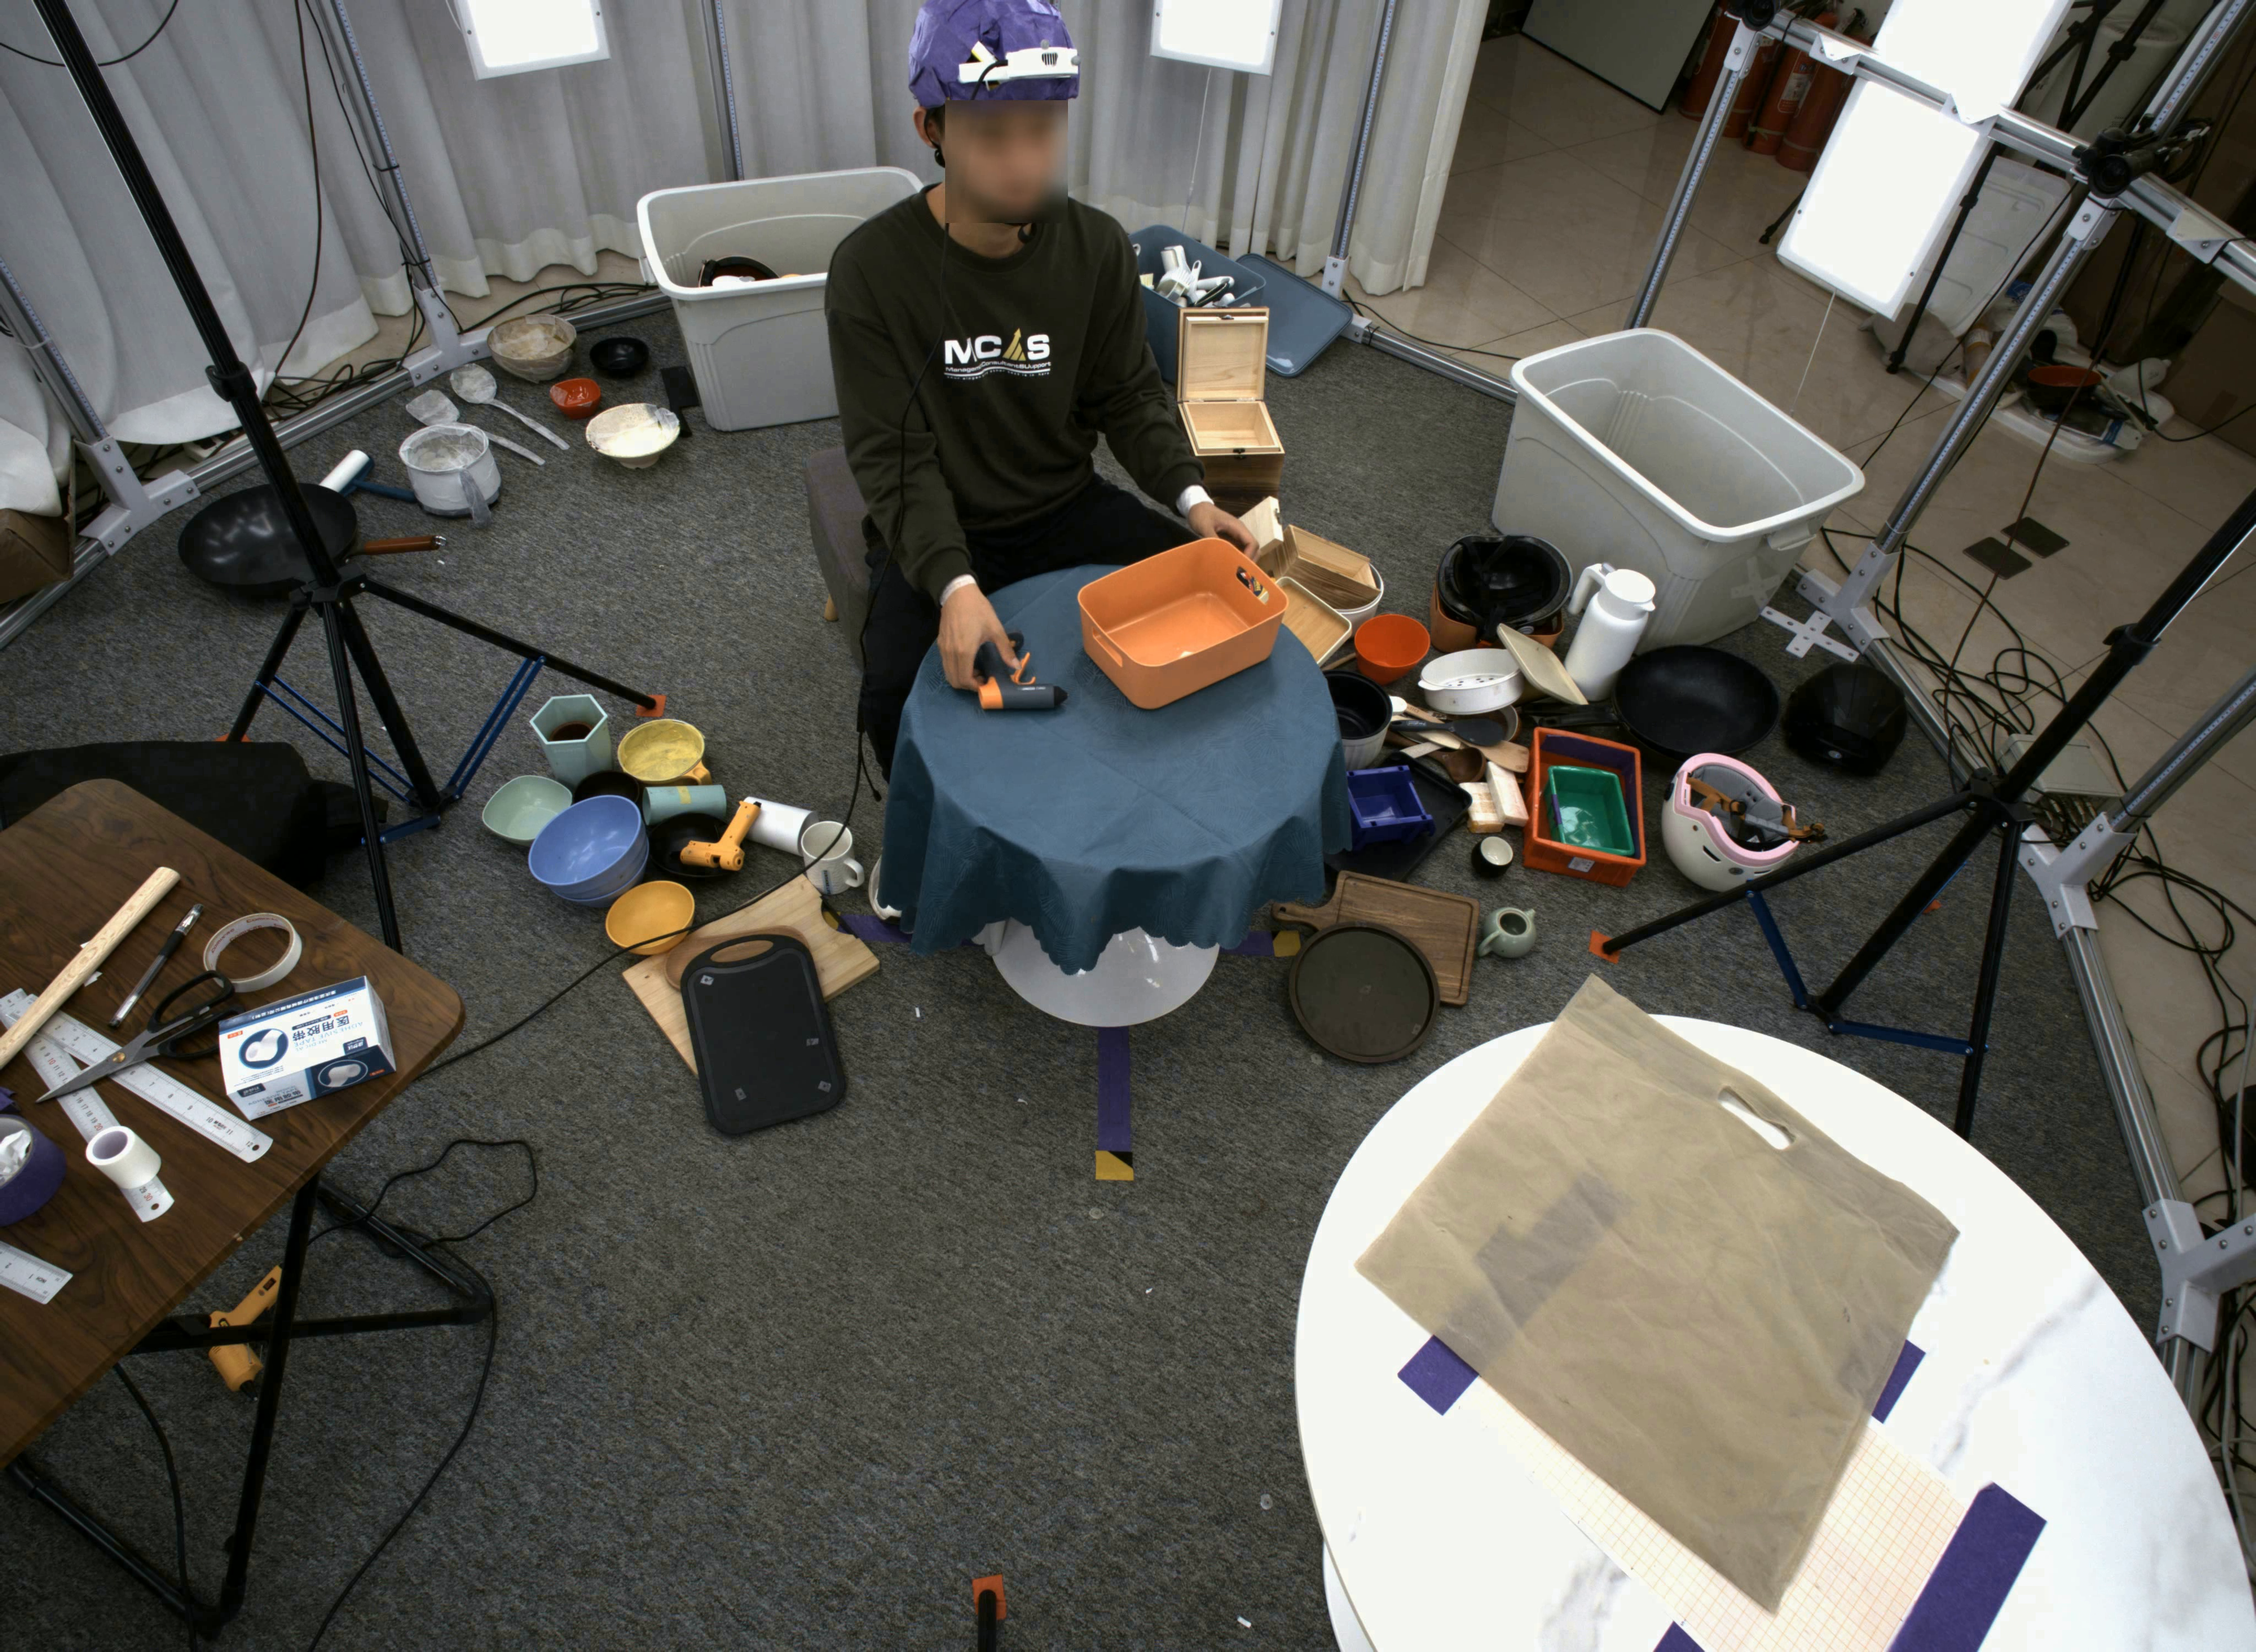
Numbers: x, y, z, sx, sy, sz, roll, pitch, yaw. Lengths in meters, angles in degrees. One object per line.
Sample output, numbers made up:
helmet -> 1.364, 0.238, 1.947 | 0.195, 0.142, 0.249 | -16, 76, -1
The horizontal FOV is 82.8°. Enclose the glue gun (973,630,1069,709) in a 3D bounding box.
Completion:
glue gun -> -0.158, -0.213, 1.814 | 0.118, 0.040, 0.143 | -13, 53, -17

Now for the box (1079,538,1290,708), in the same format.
box -> 0.077, -0.292, 1.852 | 0.274, 0.100, 0.203 | -26, 56, -24
